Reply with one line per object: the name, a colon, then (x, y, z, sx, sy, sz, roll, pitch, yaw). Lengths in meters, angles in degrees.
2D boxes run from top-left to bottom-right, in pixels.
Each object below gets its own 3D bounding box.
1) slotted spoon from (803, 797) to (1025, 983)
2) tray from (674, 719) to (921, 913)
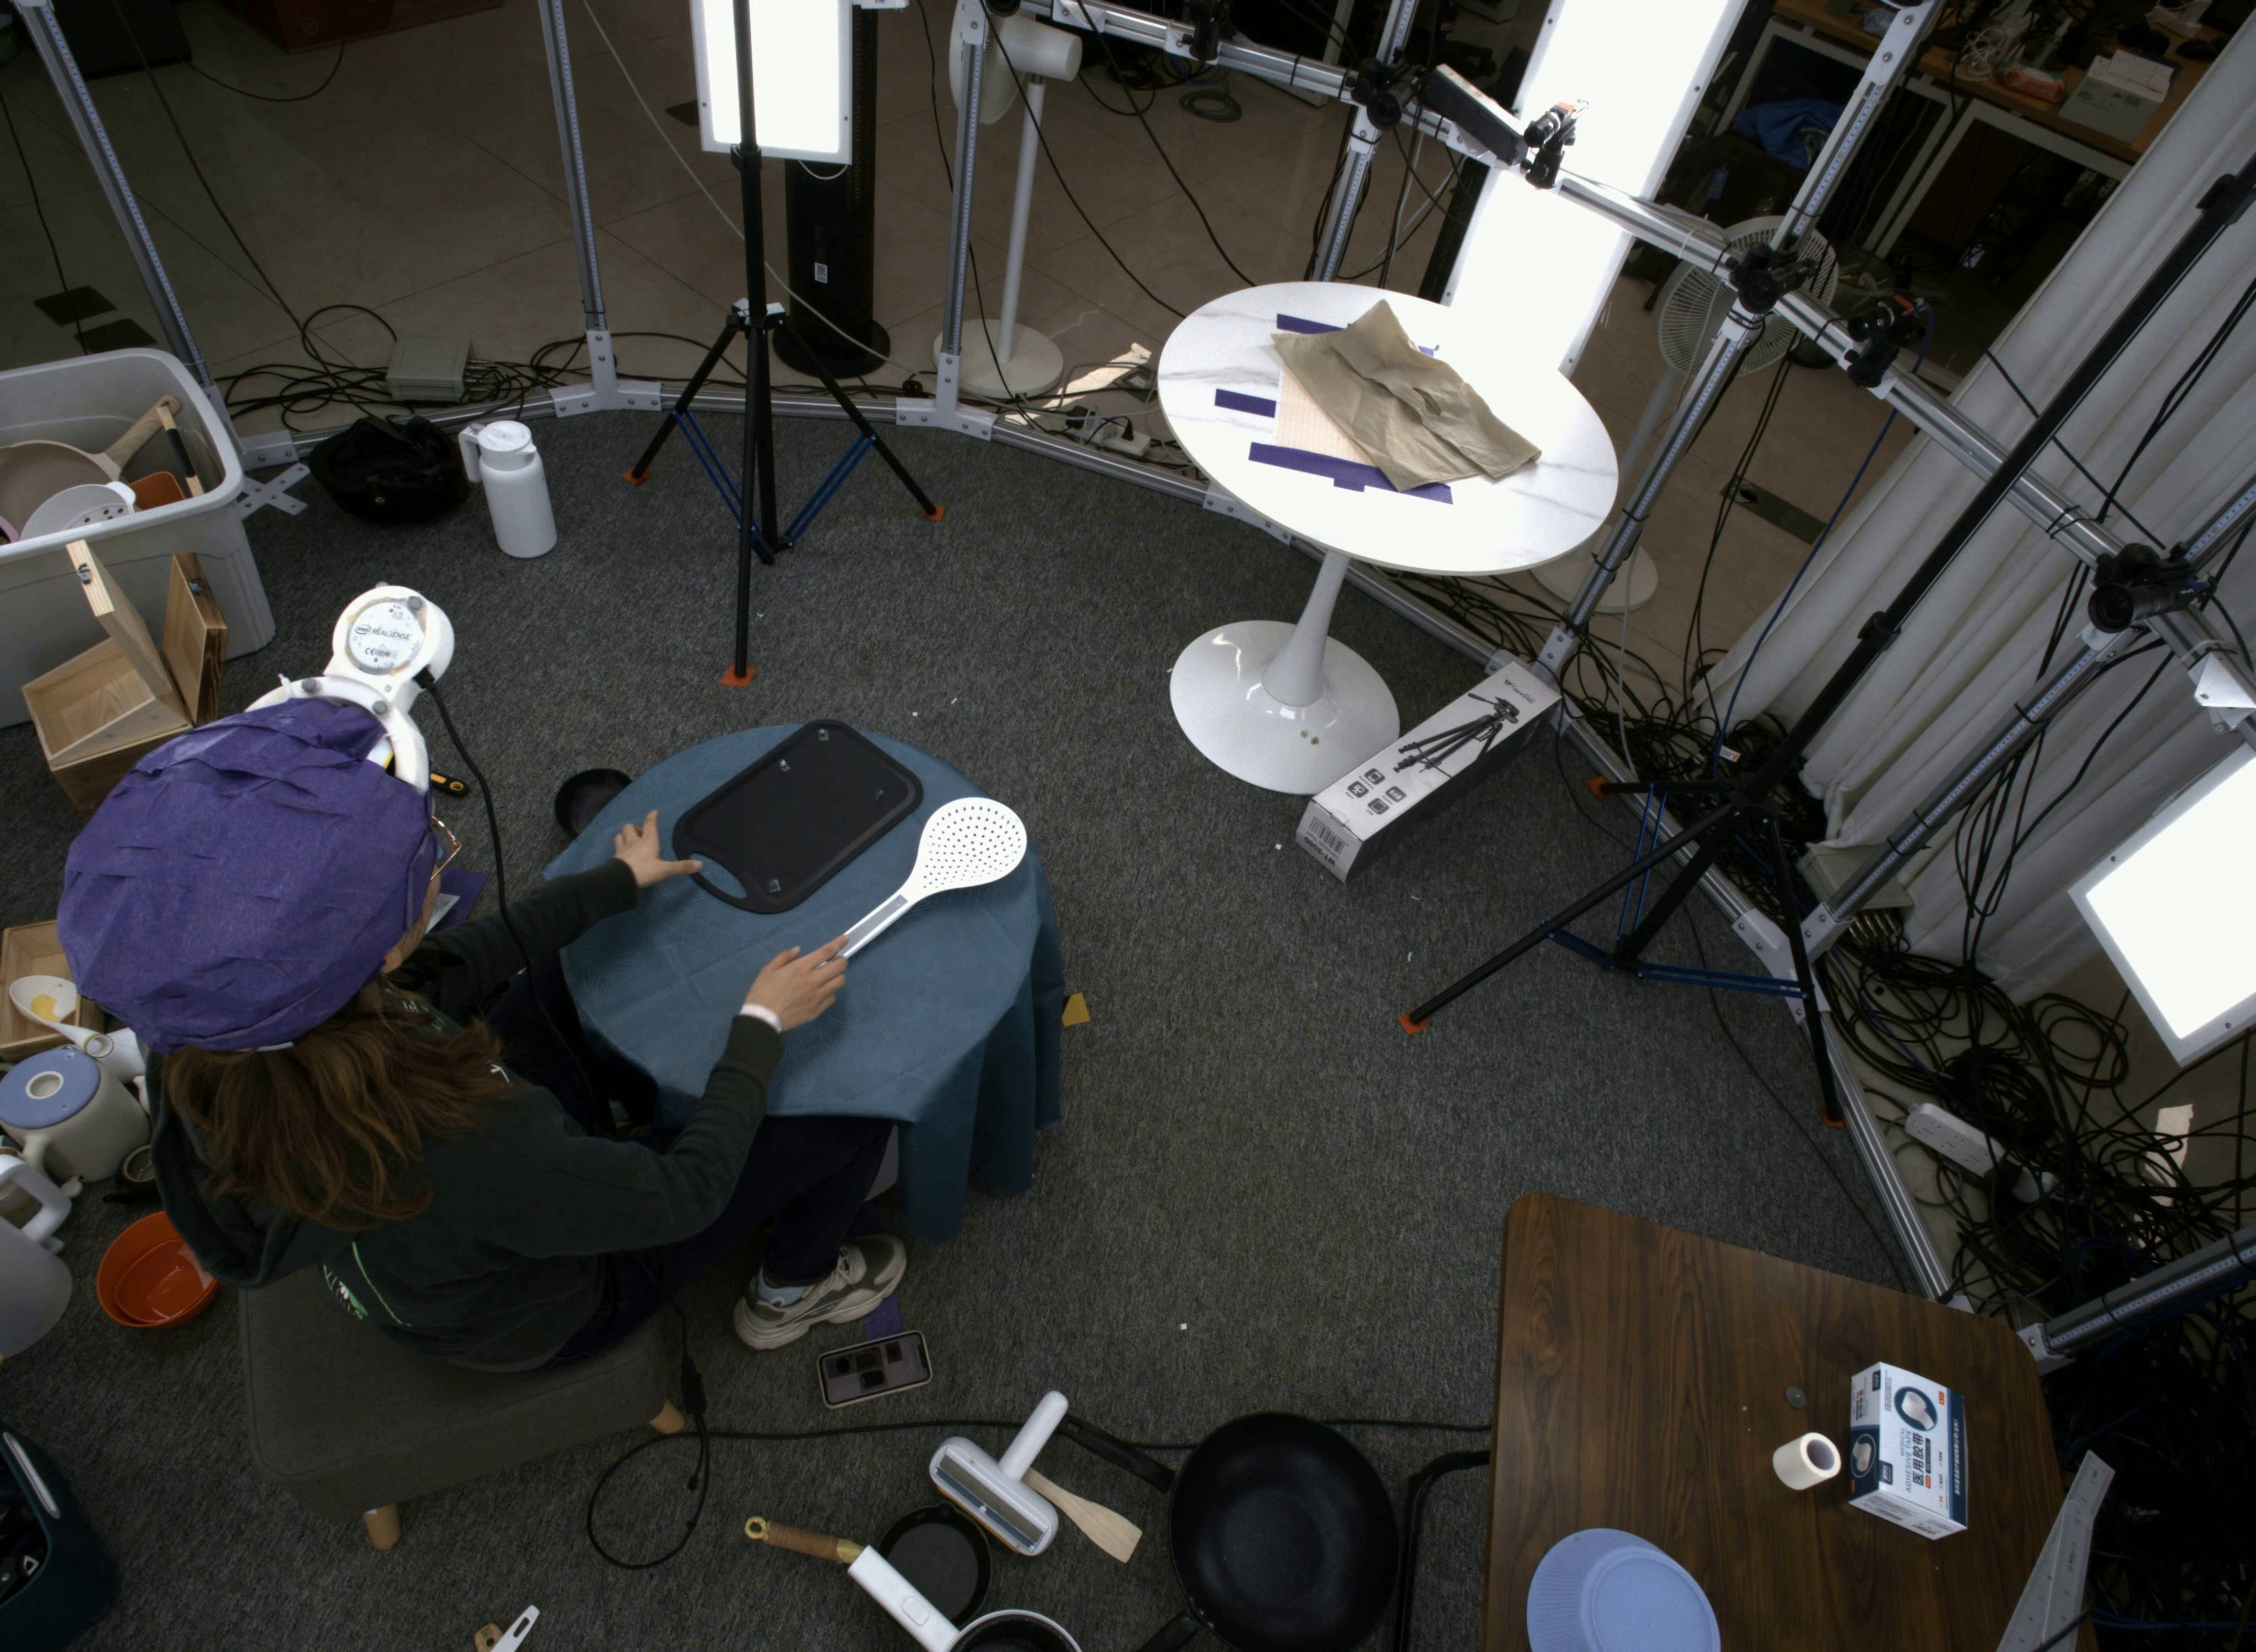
slotted spoon: (-0.276, 0.082, 1.677, 0.133, 0.047, 0.350, 39, 55, 18)
tray: (-0.443, -0.017, 1.733, 0.207, 0.010, 0.325, 36, 54, 13)
